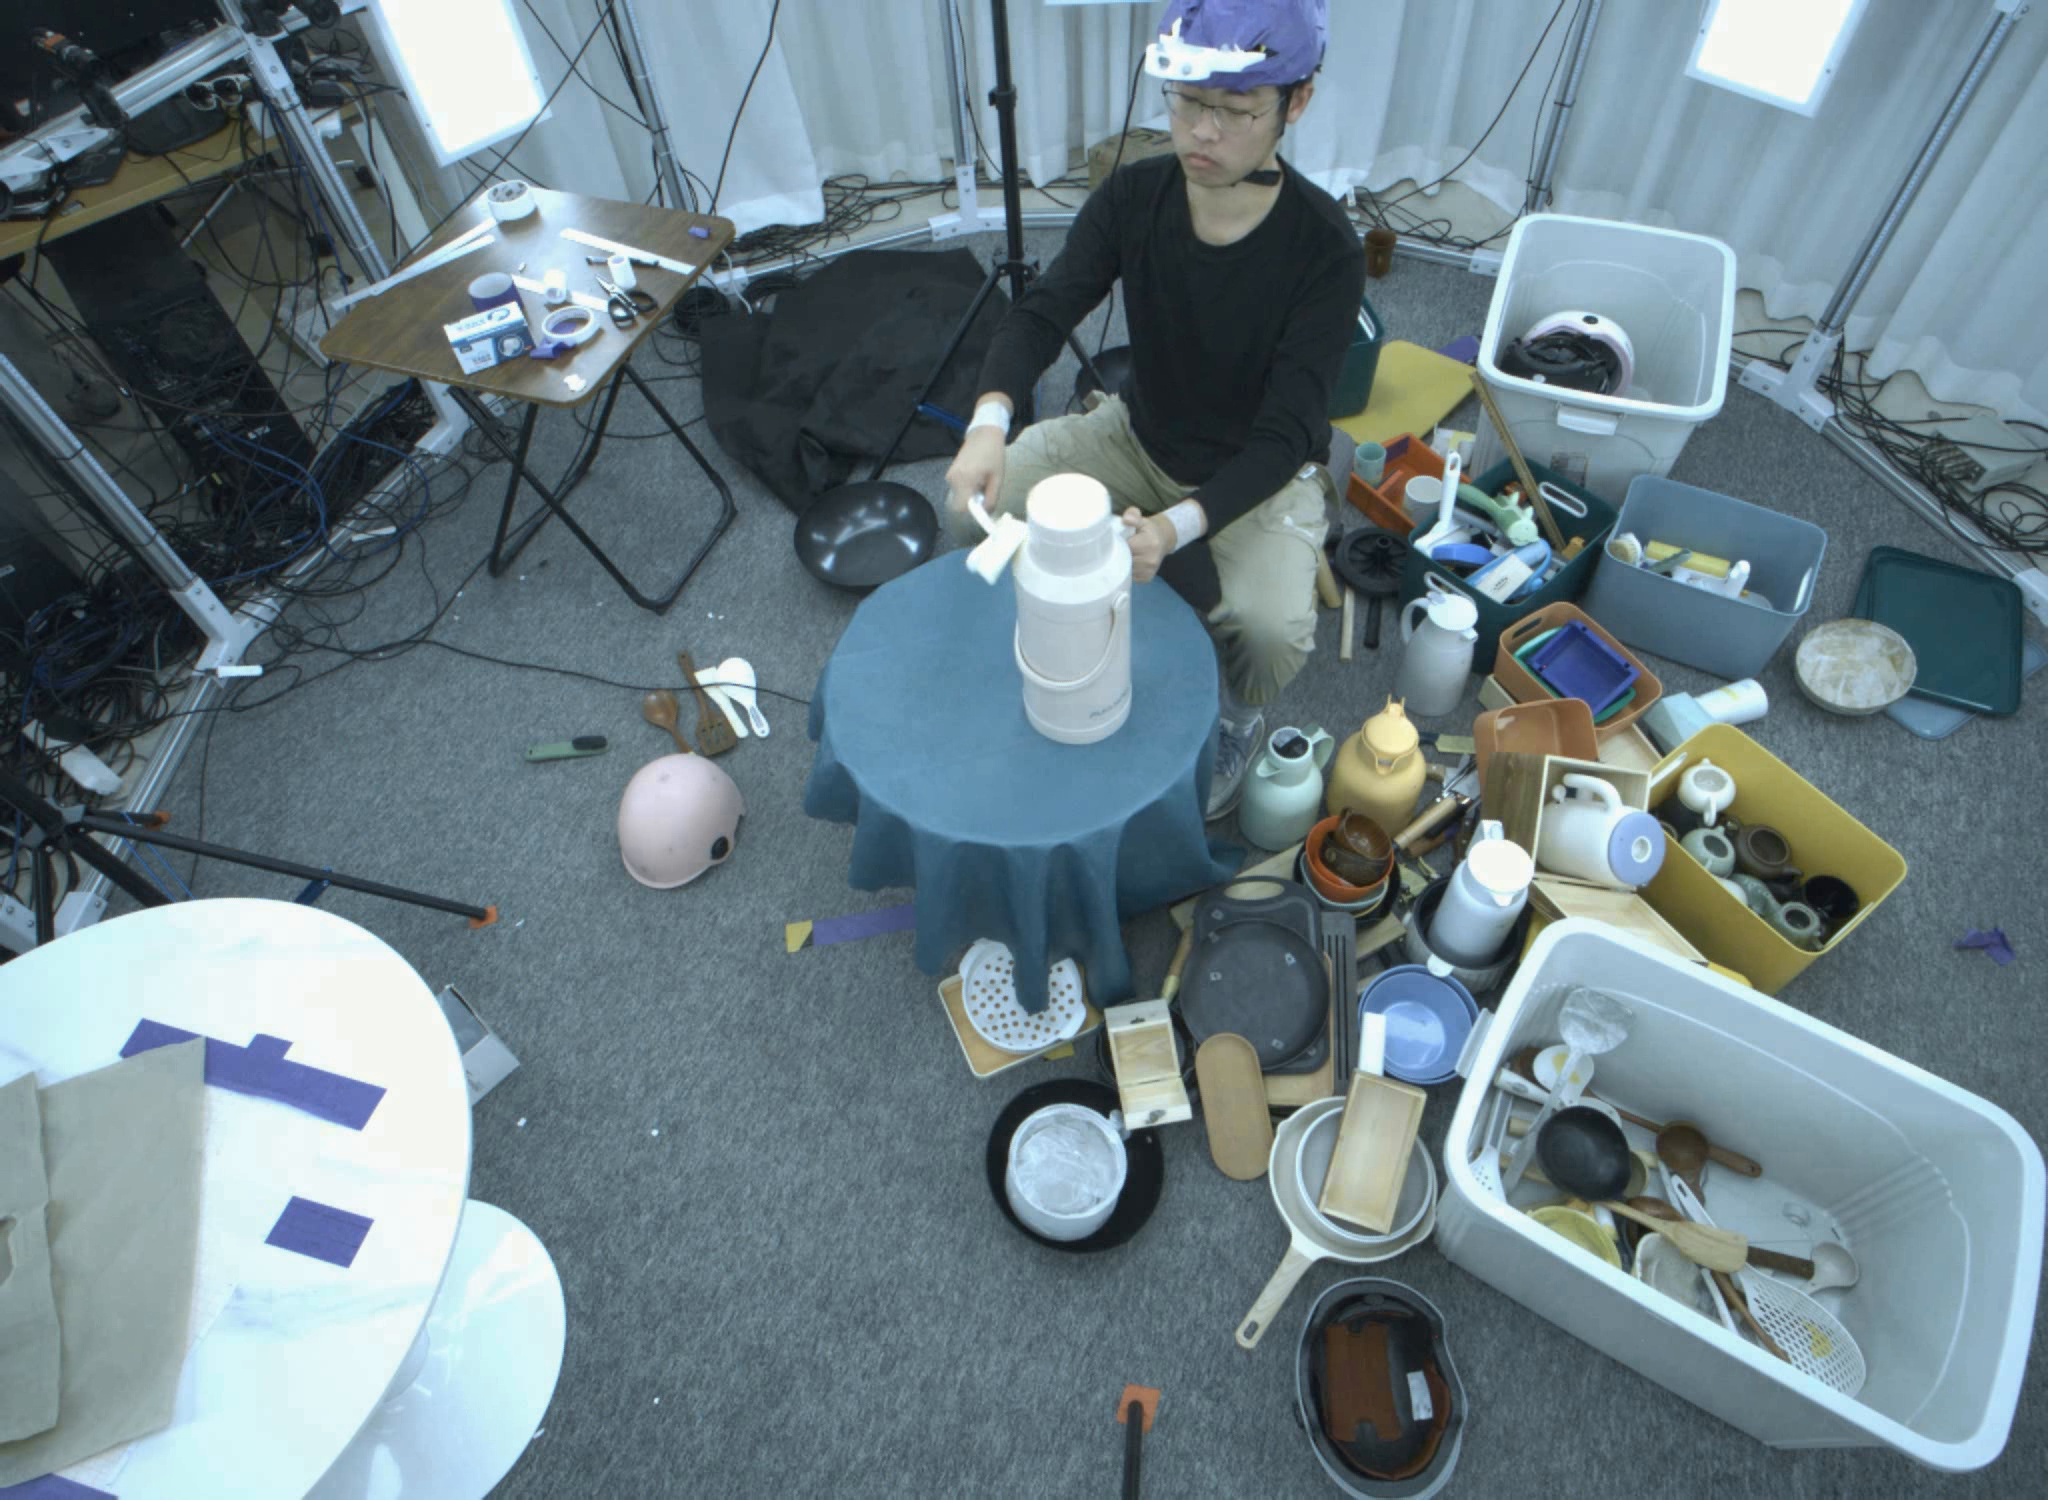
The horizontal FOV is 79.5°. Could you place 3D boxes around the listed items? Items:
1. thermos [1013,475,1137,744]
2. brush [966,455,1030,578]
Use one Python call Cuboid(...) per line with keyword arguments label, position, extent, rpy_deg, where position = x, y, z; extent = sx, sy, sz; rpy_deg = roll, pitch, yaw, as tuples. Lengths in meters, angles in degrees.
Cuboid(label="thermos", position=(0.080, -0.195, 1.679), extent=(0.172, 0.411, 0.208), rpy_deg=(33, 63, 26))
Cuboid(label="brush", position=(-0.032, -0.327, 1.690), extent=(0.082, 0.086, 0.322), rpy_deg=(-16, 34, 12))
